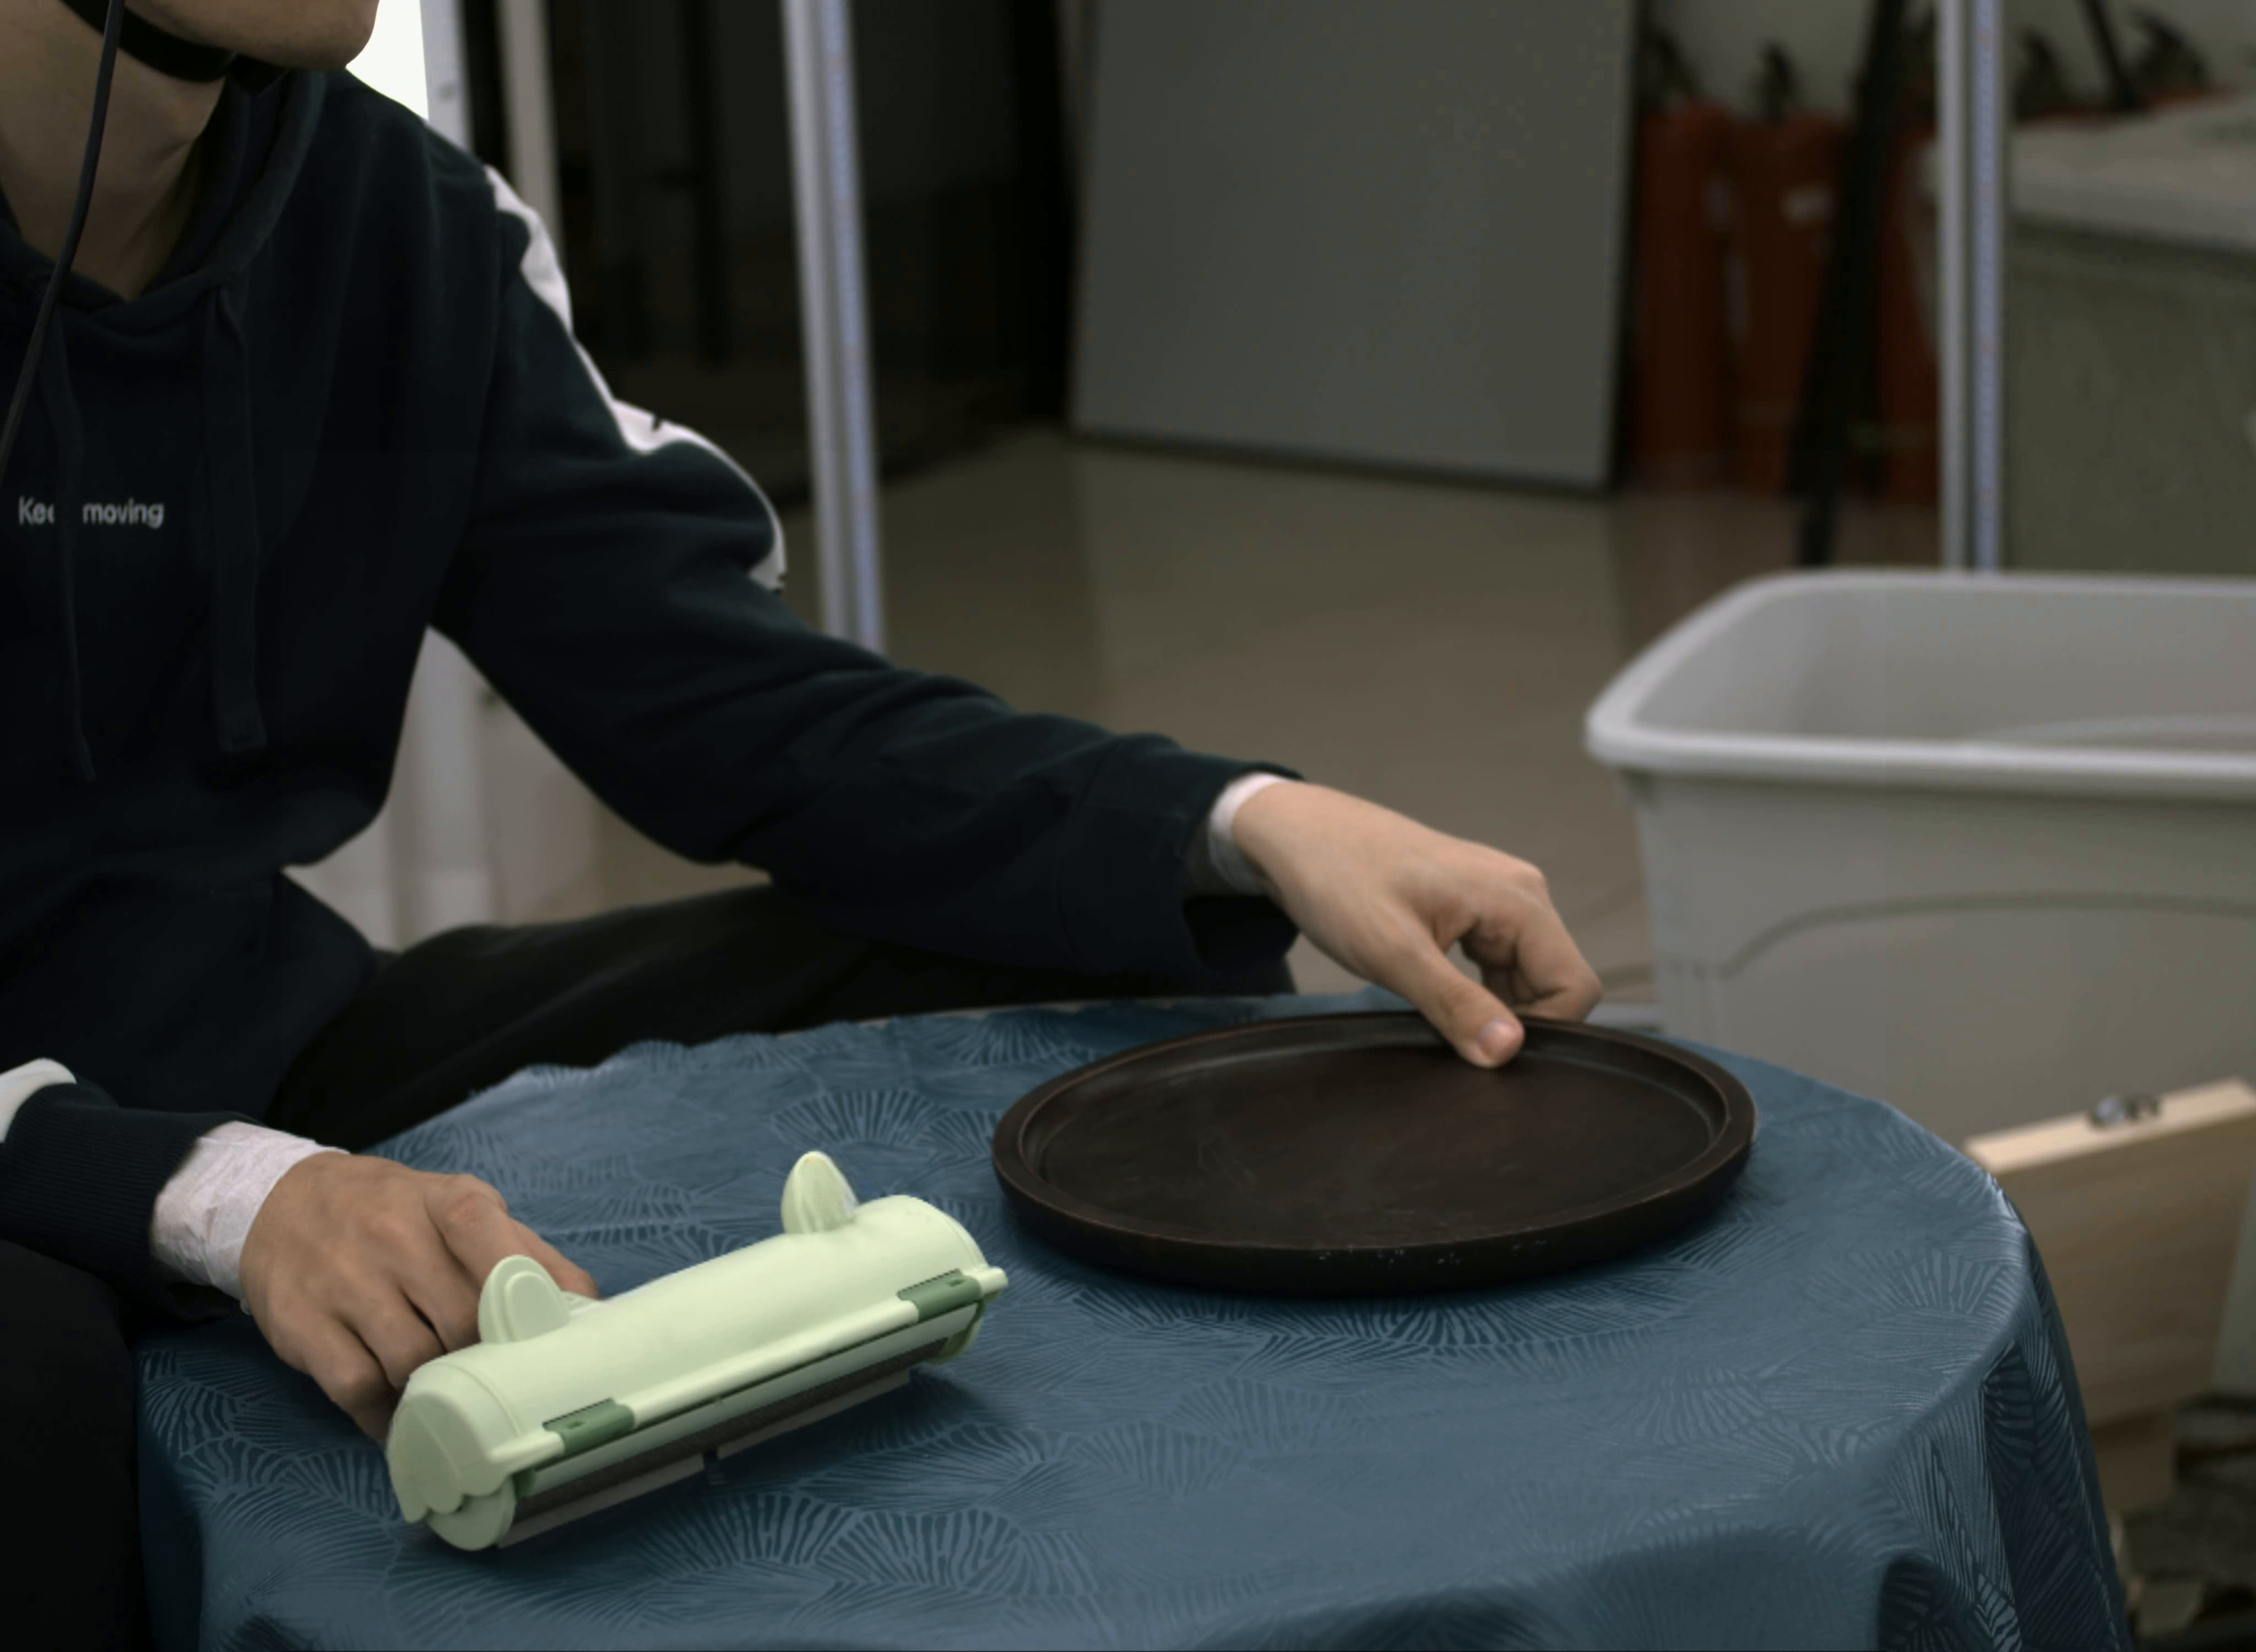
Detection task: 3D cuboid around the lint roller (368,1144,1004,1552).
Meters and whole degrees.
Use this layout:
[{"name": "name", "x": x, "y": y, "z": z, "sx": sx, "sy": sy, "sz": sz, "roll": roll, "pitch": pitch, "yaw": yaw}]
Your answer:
[{"name": "lint roller", "x": -0.163, "y": 0.137, "z": 1.582, "sx": 0.185, "sy": 0.083, "sz": 0.194, "roll": 15, "pitch": 23, "yaw": 43}]

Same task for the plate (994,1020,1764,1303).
[{"name": "plate", "x": 0.082, "y": 0.106, "z": 1.757, "sx": 0.251, "sy": 0.029, "sz": 0.255, "roll": -5, "pitch": 15, "yaw": 0}]
